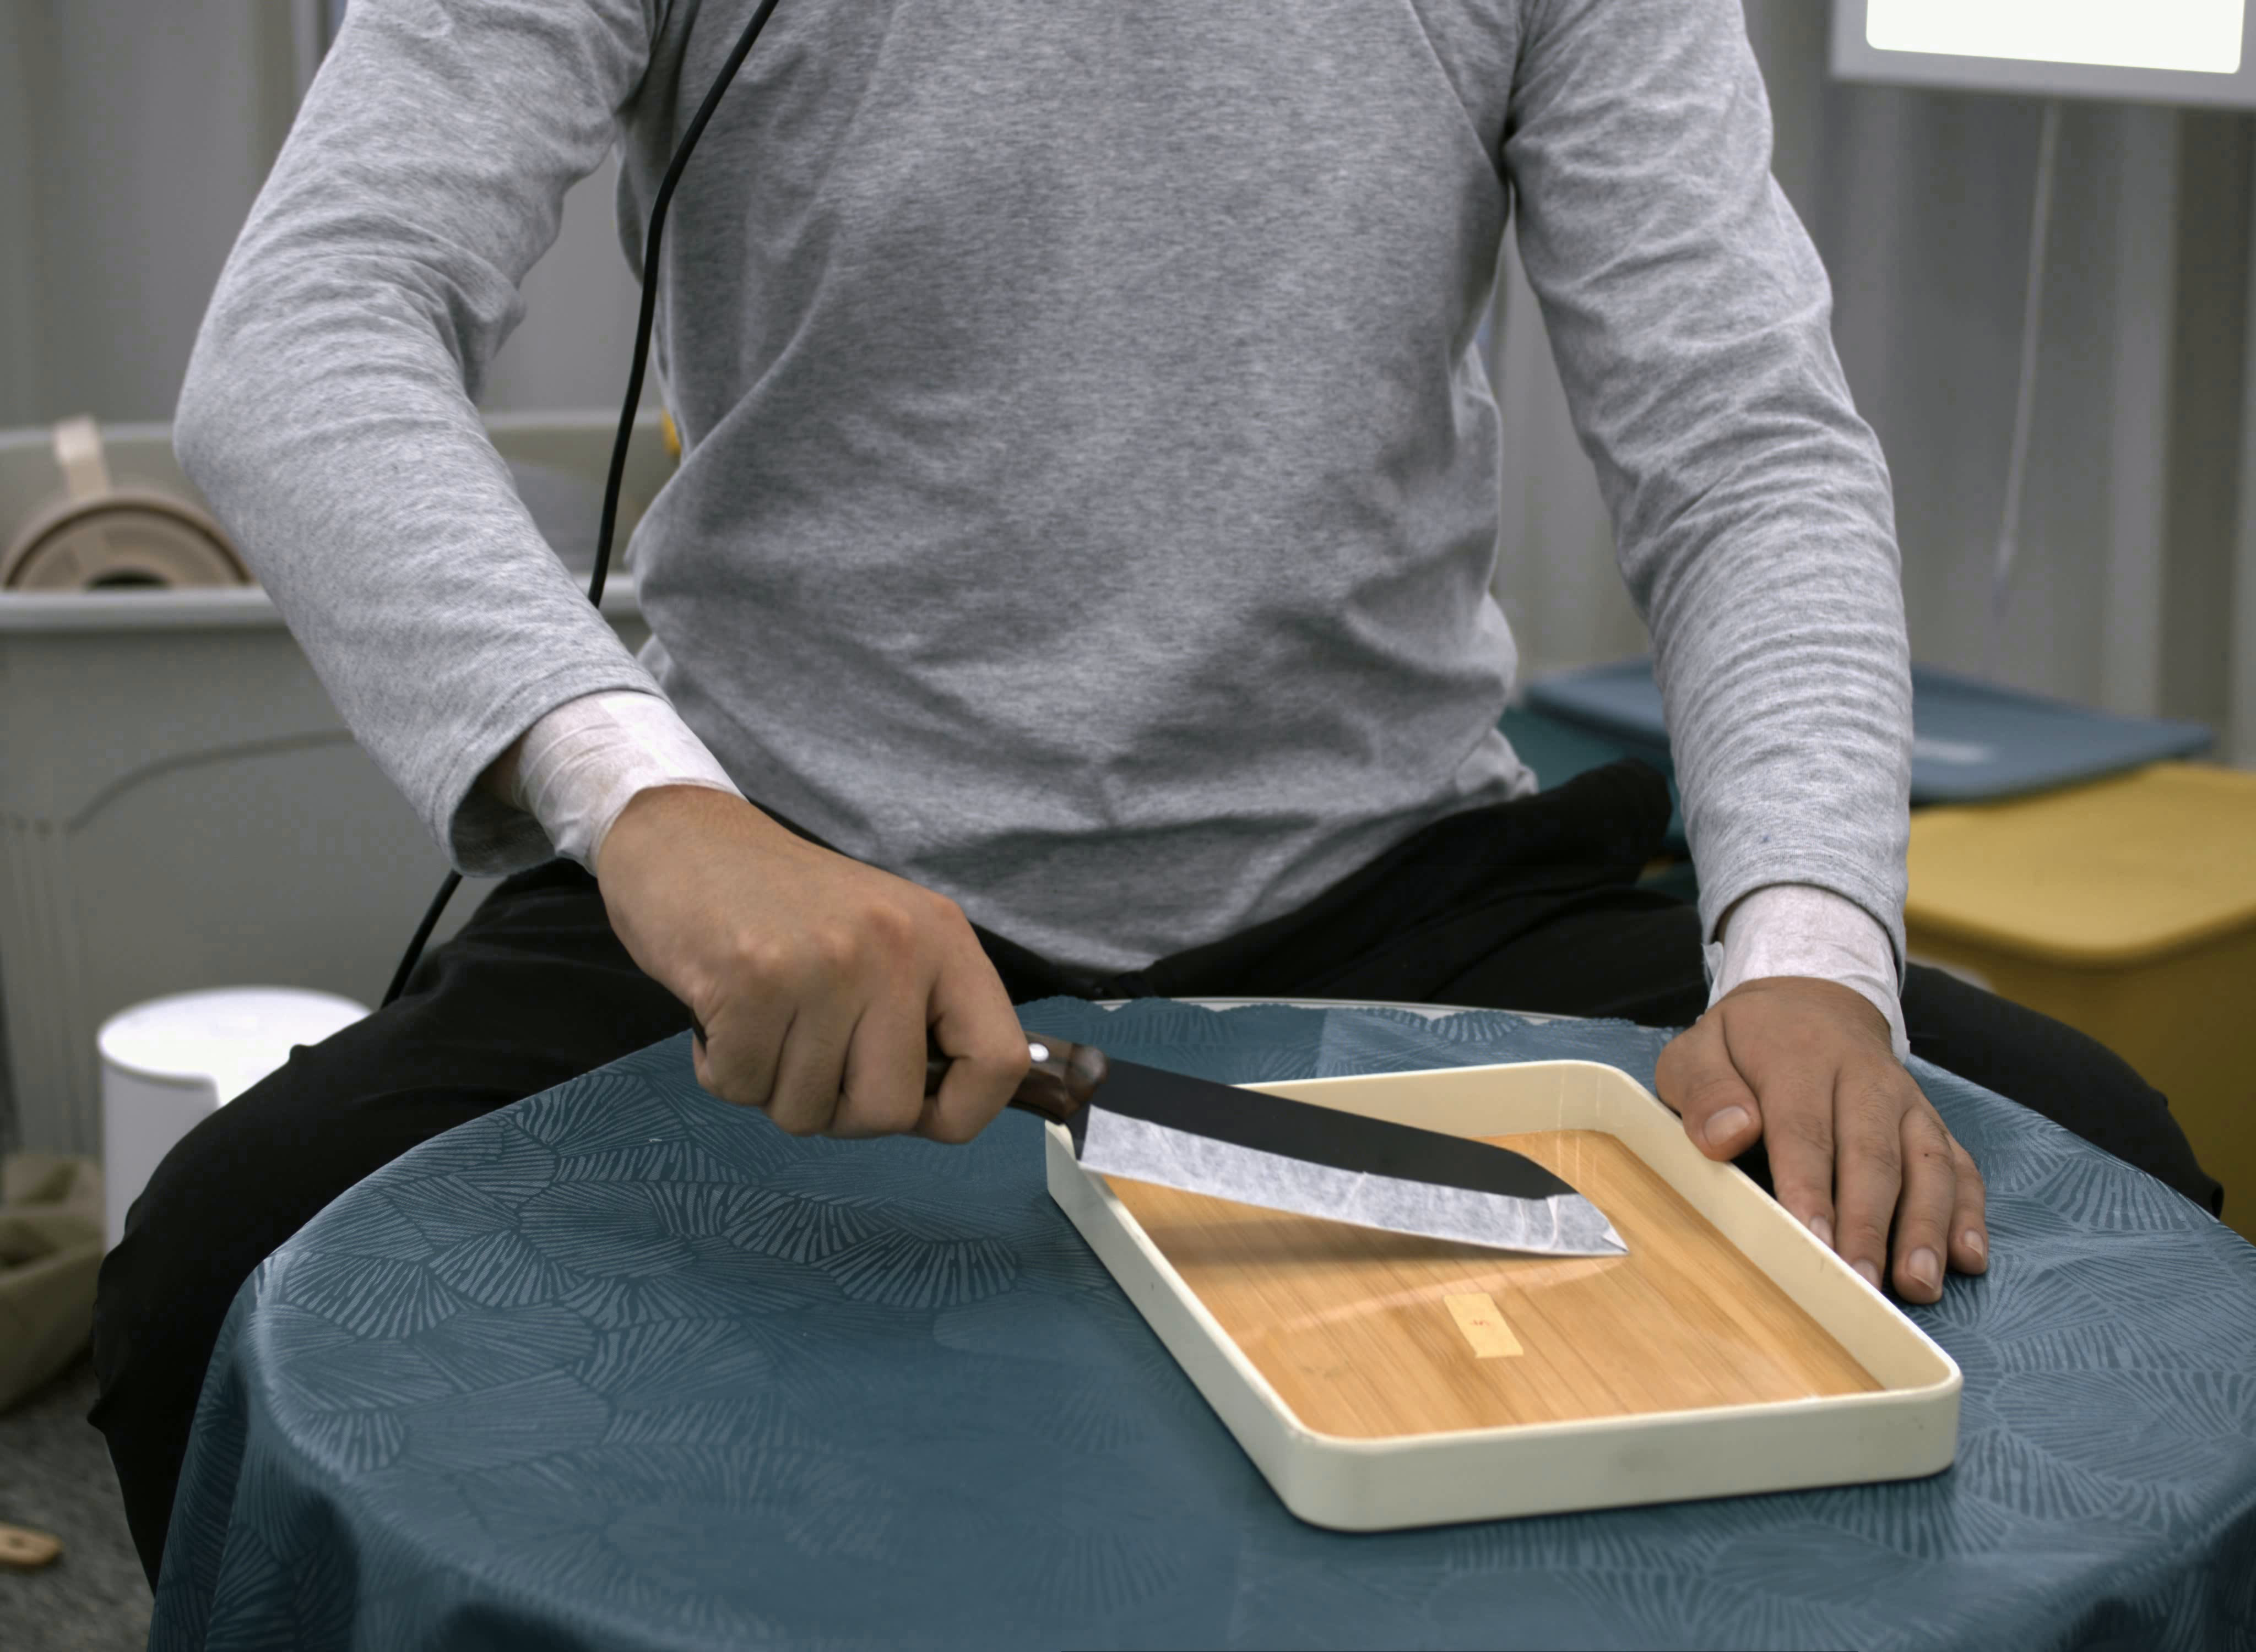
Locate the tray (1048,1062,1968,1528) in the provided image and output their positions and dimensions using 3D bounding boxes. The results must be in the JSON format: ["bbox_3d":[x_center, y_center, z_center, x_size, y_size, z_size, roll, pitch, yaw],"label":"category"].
[{"bbox_3d":[0.100,0.129,1.518,0.192,0.027,0.297,-3,16,-14],"label":"tray"}]

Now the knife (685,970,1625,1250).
[{"bbox_3d":[0.009,0.086,1.554,0.289,0.020,0.050,14,48,-5],"label":"knife"}]
